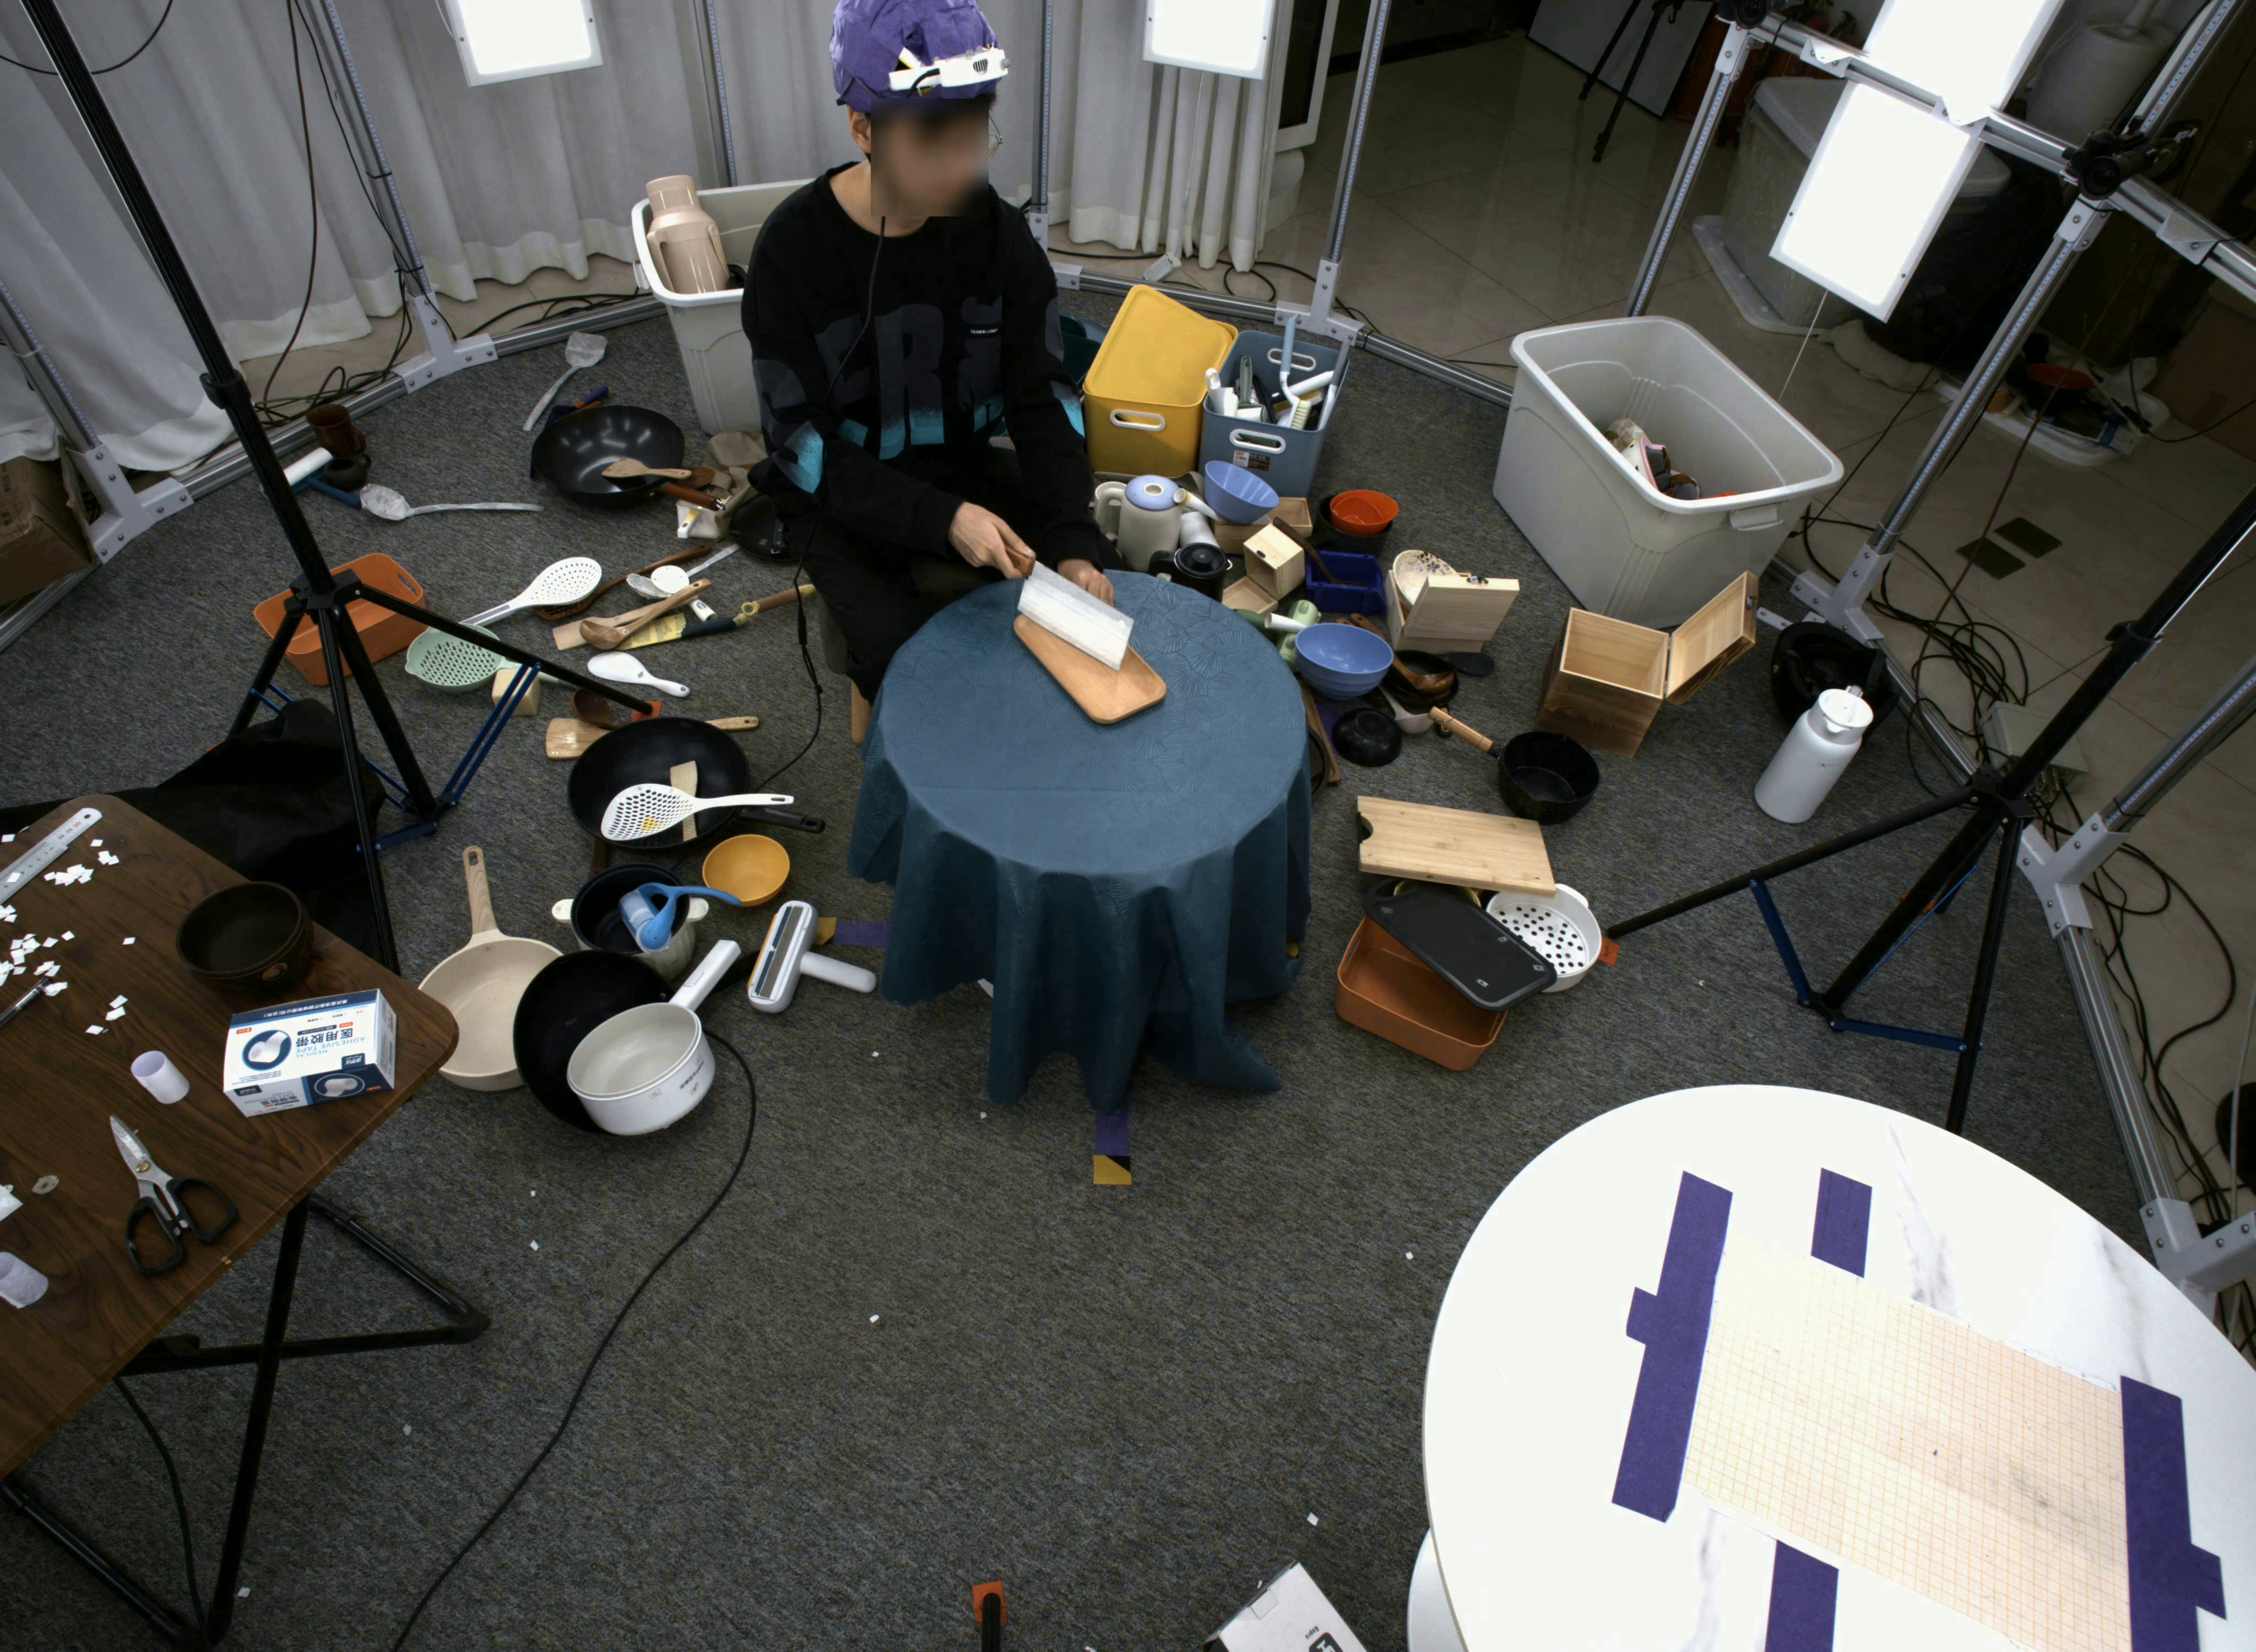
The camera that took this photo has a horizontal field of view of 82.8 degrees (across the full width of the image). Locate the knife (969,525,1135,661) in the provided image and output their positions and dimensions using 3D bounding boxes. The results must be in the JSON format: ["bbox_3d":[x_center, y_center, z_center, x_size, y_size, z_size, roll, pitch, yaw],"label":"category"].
[{"bbox_3d":[-0.118,-0.336,1.876,0.309,0.091,0.021,34,39,20],"label":"knife"}]

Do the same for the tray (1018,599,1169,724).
[{"bbox_3d":[-0.052,-0.244,1.867,0.131,0.022,0.256,-22,53,-24],"label":"tray"}]
